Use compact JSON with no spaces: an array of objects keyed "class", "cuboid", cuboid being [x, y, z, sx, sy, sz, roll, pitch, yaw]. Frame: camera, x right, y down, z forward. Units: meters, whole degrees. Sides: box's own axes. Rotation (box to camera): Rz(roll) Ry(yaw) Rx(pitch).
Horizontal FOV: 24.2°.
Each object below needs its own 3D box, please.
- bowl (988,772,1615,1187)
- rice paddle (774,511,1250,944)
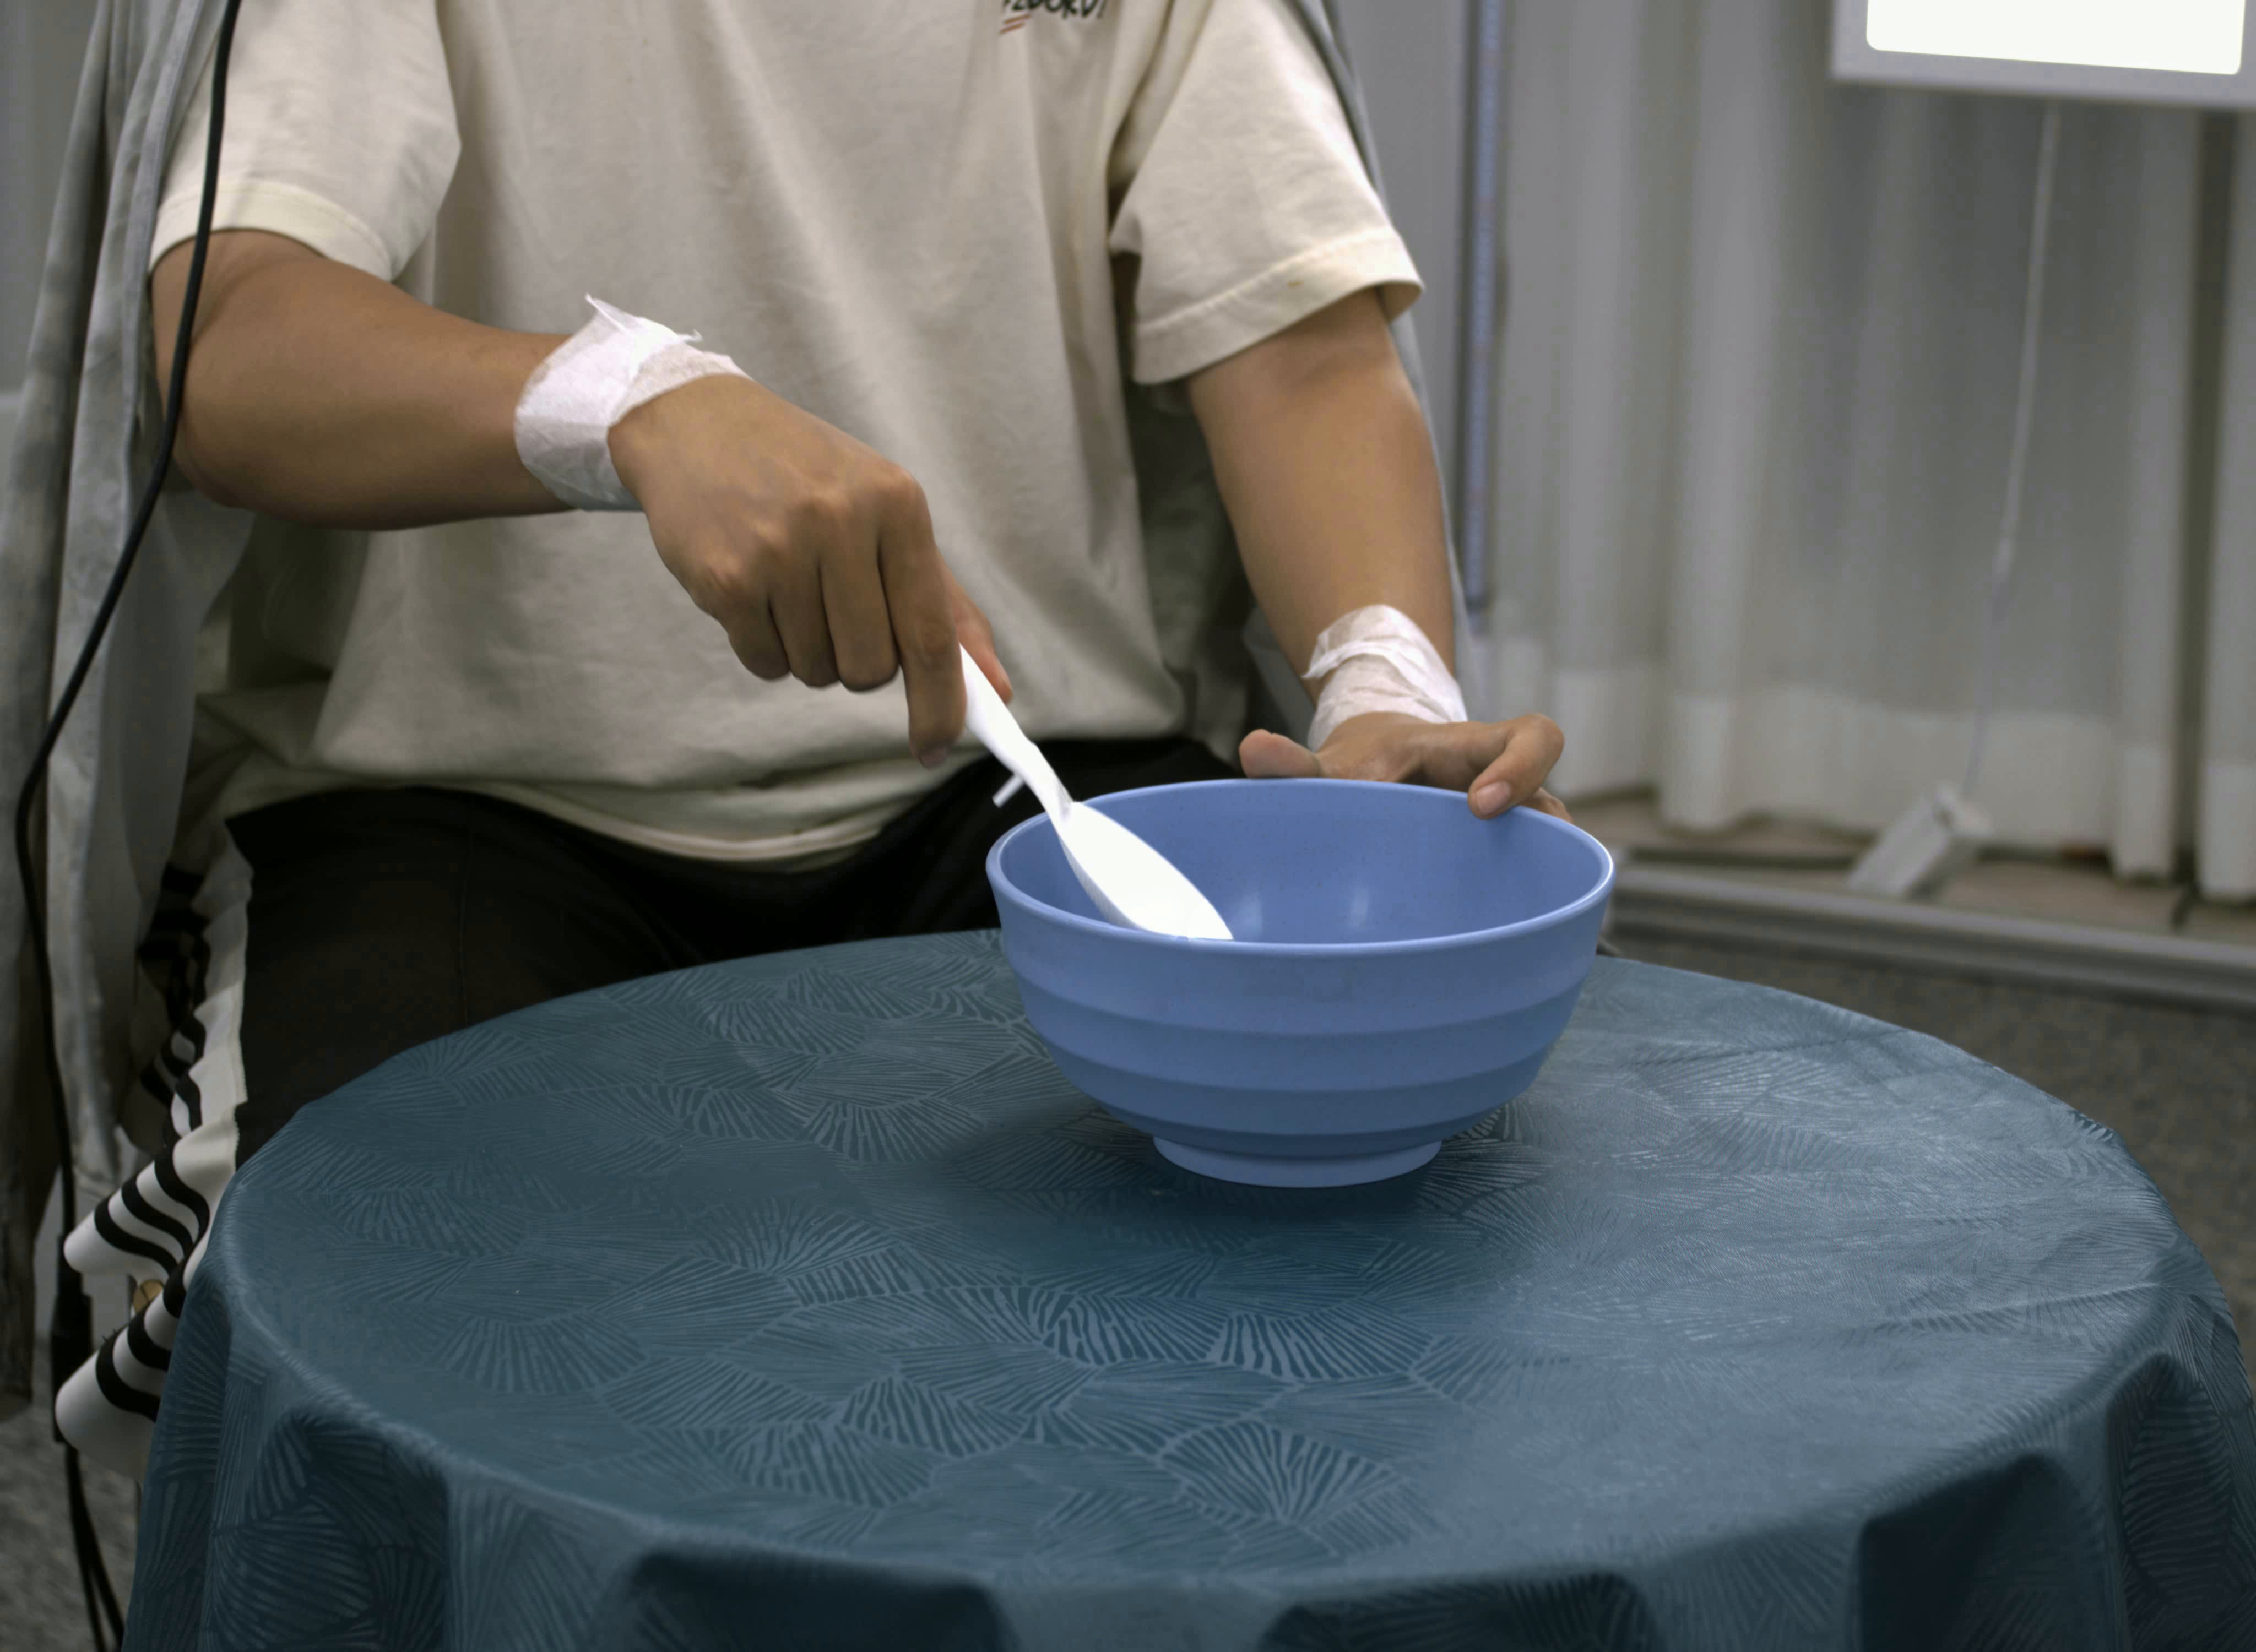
[{"class":"bowl","cuboid":[0.054,0.054,1.659,0.196,0.096,0.195,1,17,0]},{"class":"rice paddle","cuboid":[-0.028,-0.017,1.653,0.205,0.029,0.068,45,19,-3]}]
